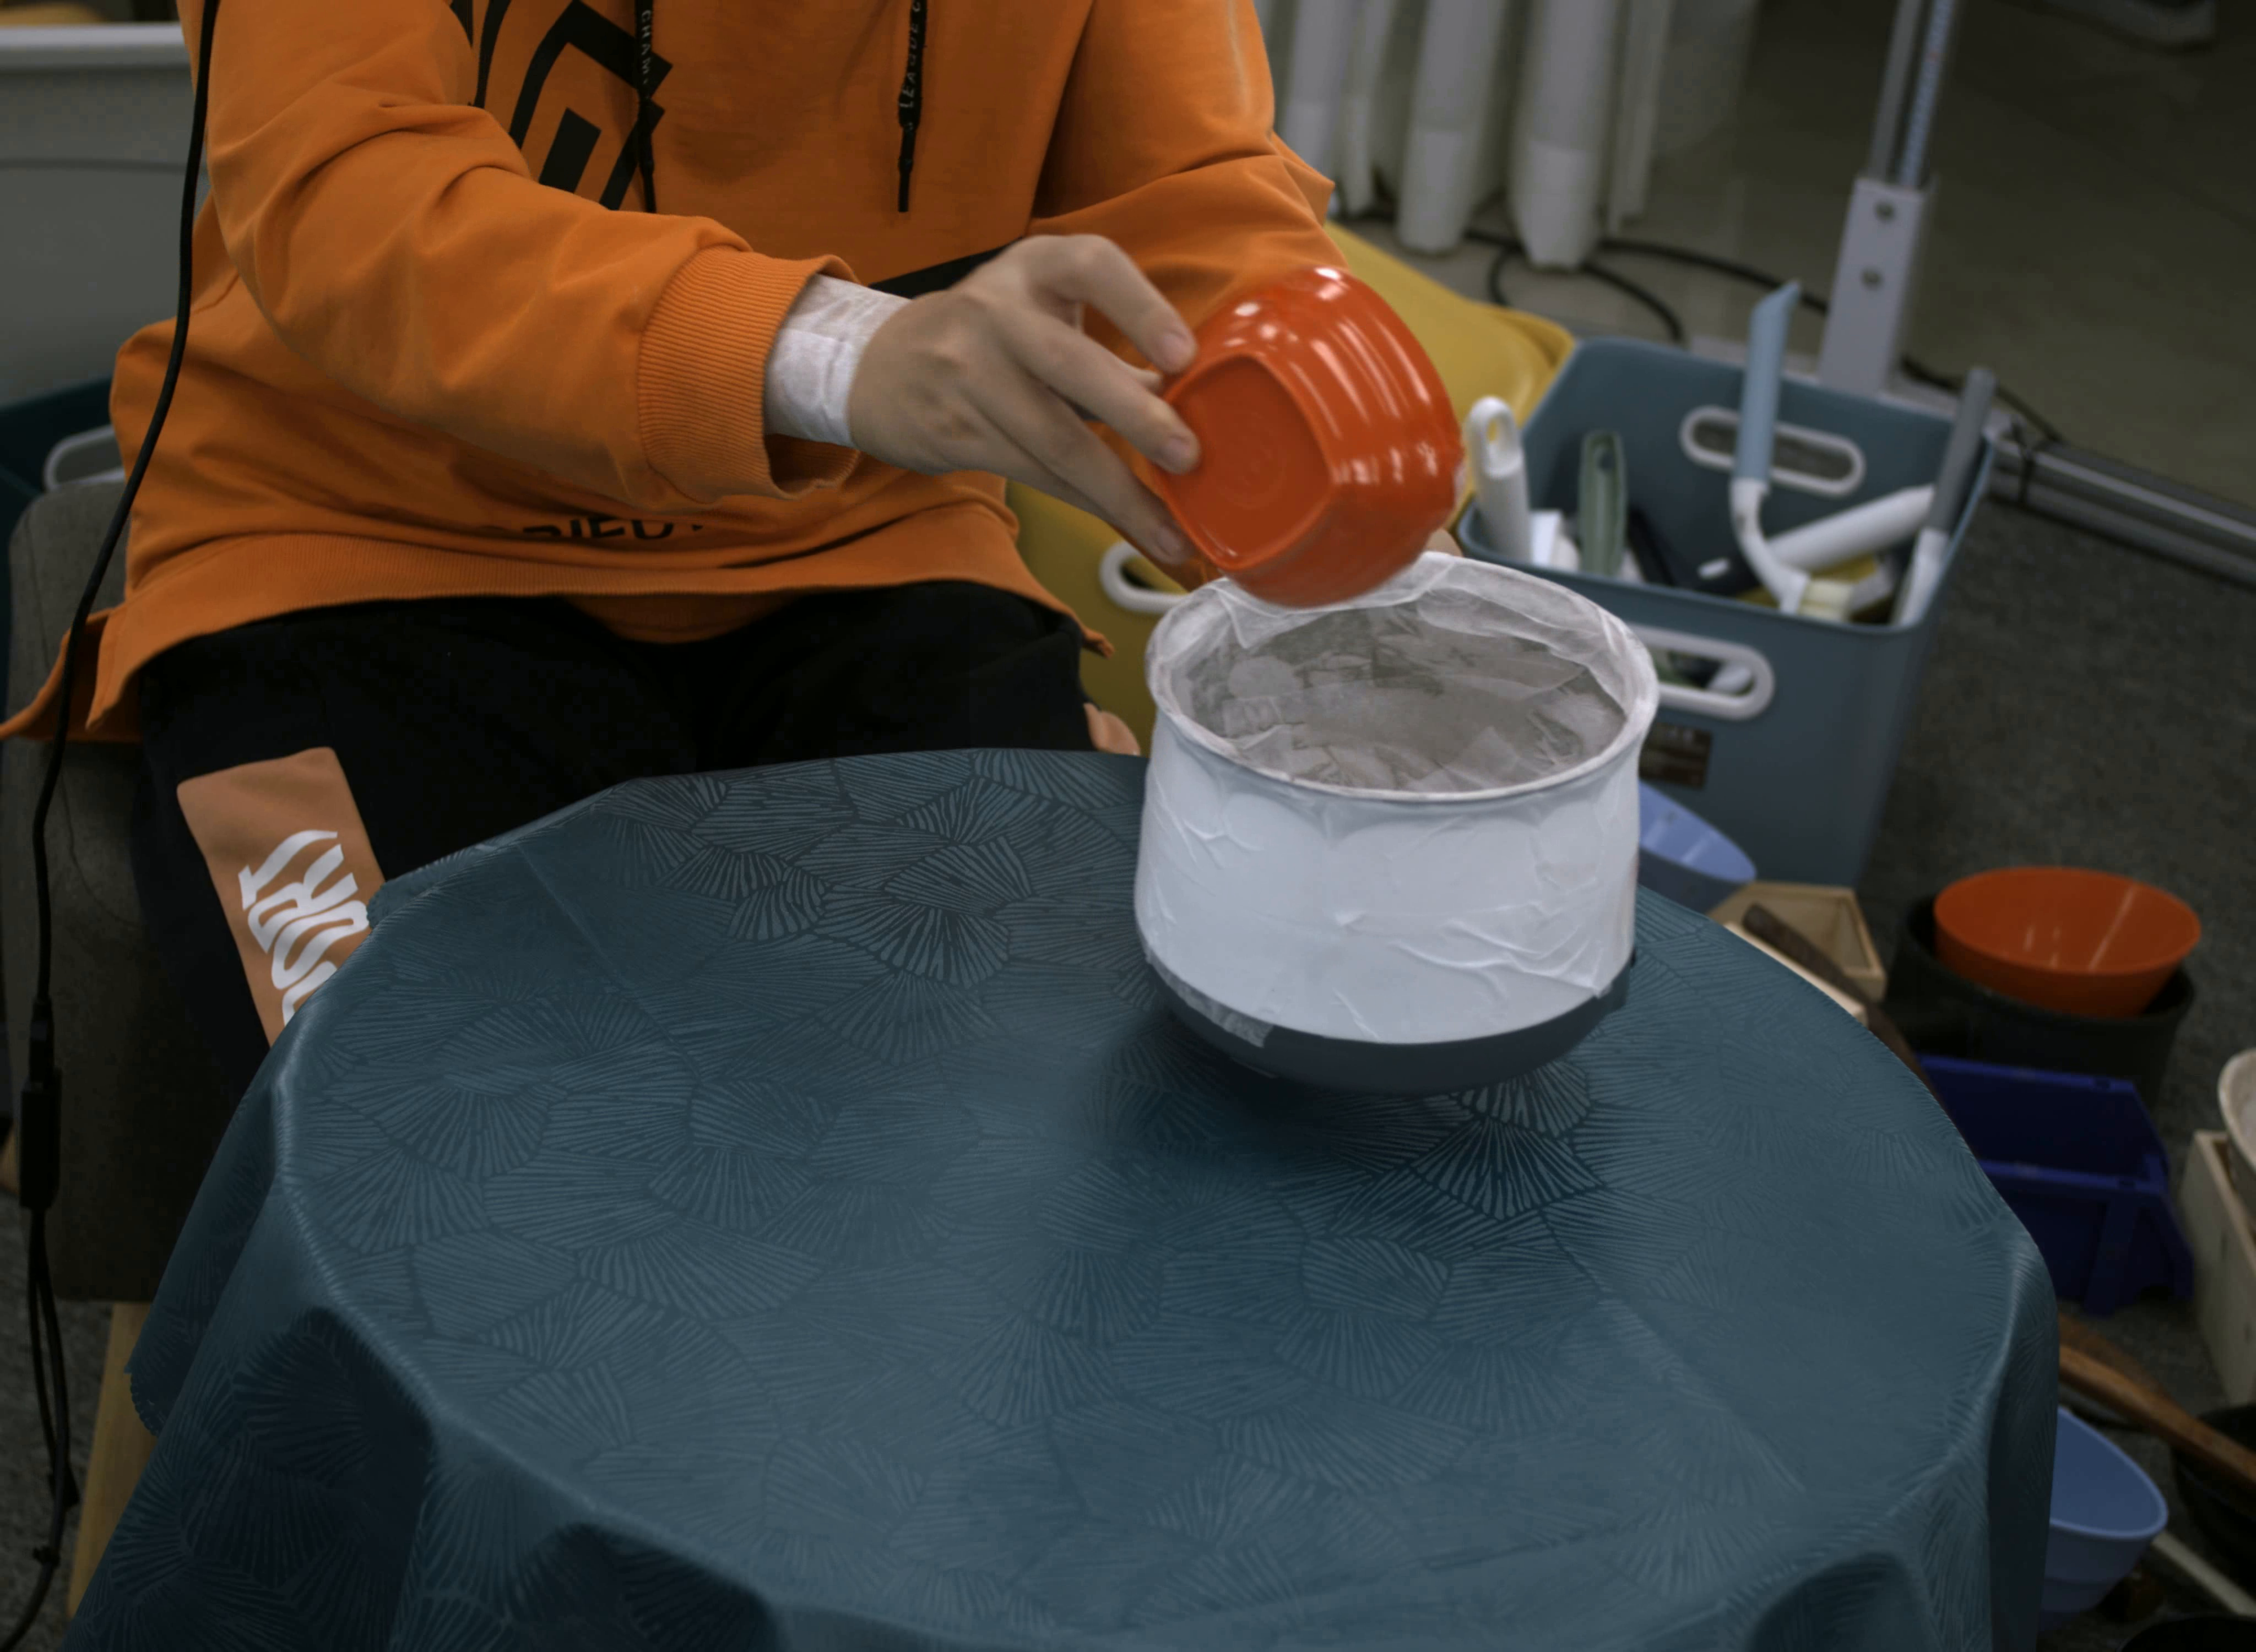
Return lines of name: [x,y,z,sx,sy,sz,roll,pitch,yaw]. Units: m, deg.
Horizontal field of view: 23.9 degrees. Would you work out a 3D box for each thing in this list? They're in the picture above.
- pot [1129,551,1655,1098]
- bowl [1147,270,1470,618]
pot: [0.087,-0.013,1.876,0.178,0.136,0.235,0,30,-5]
bowl: [0.051,-0.124,1.778,0.119,0.119,0.051,23,23,28]
